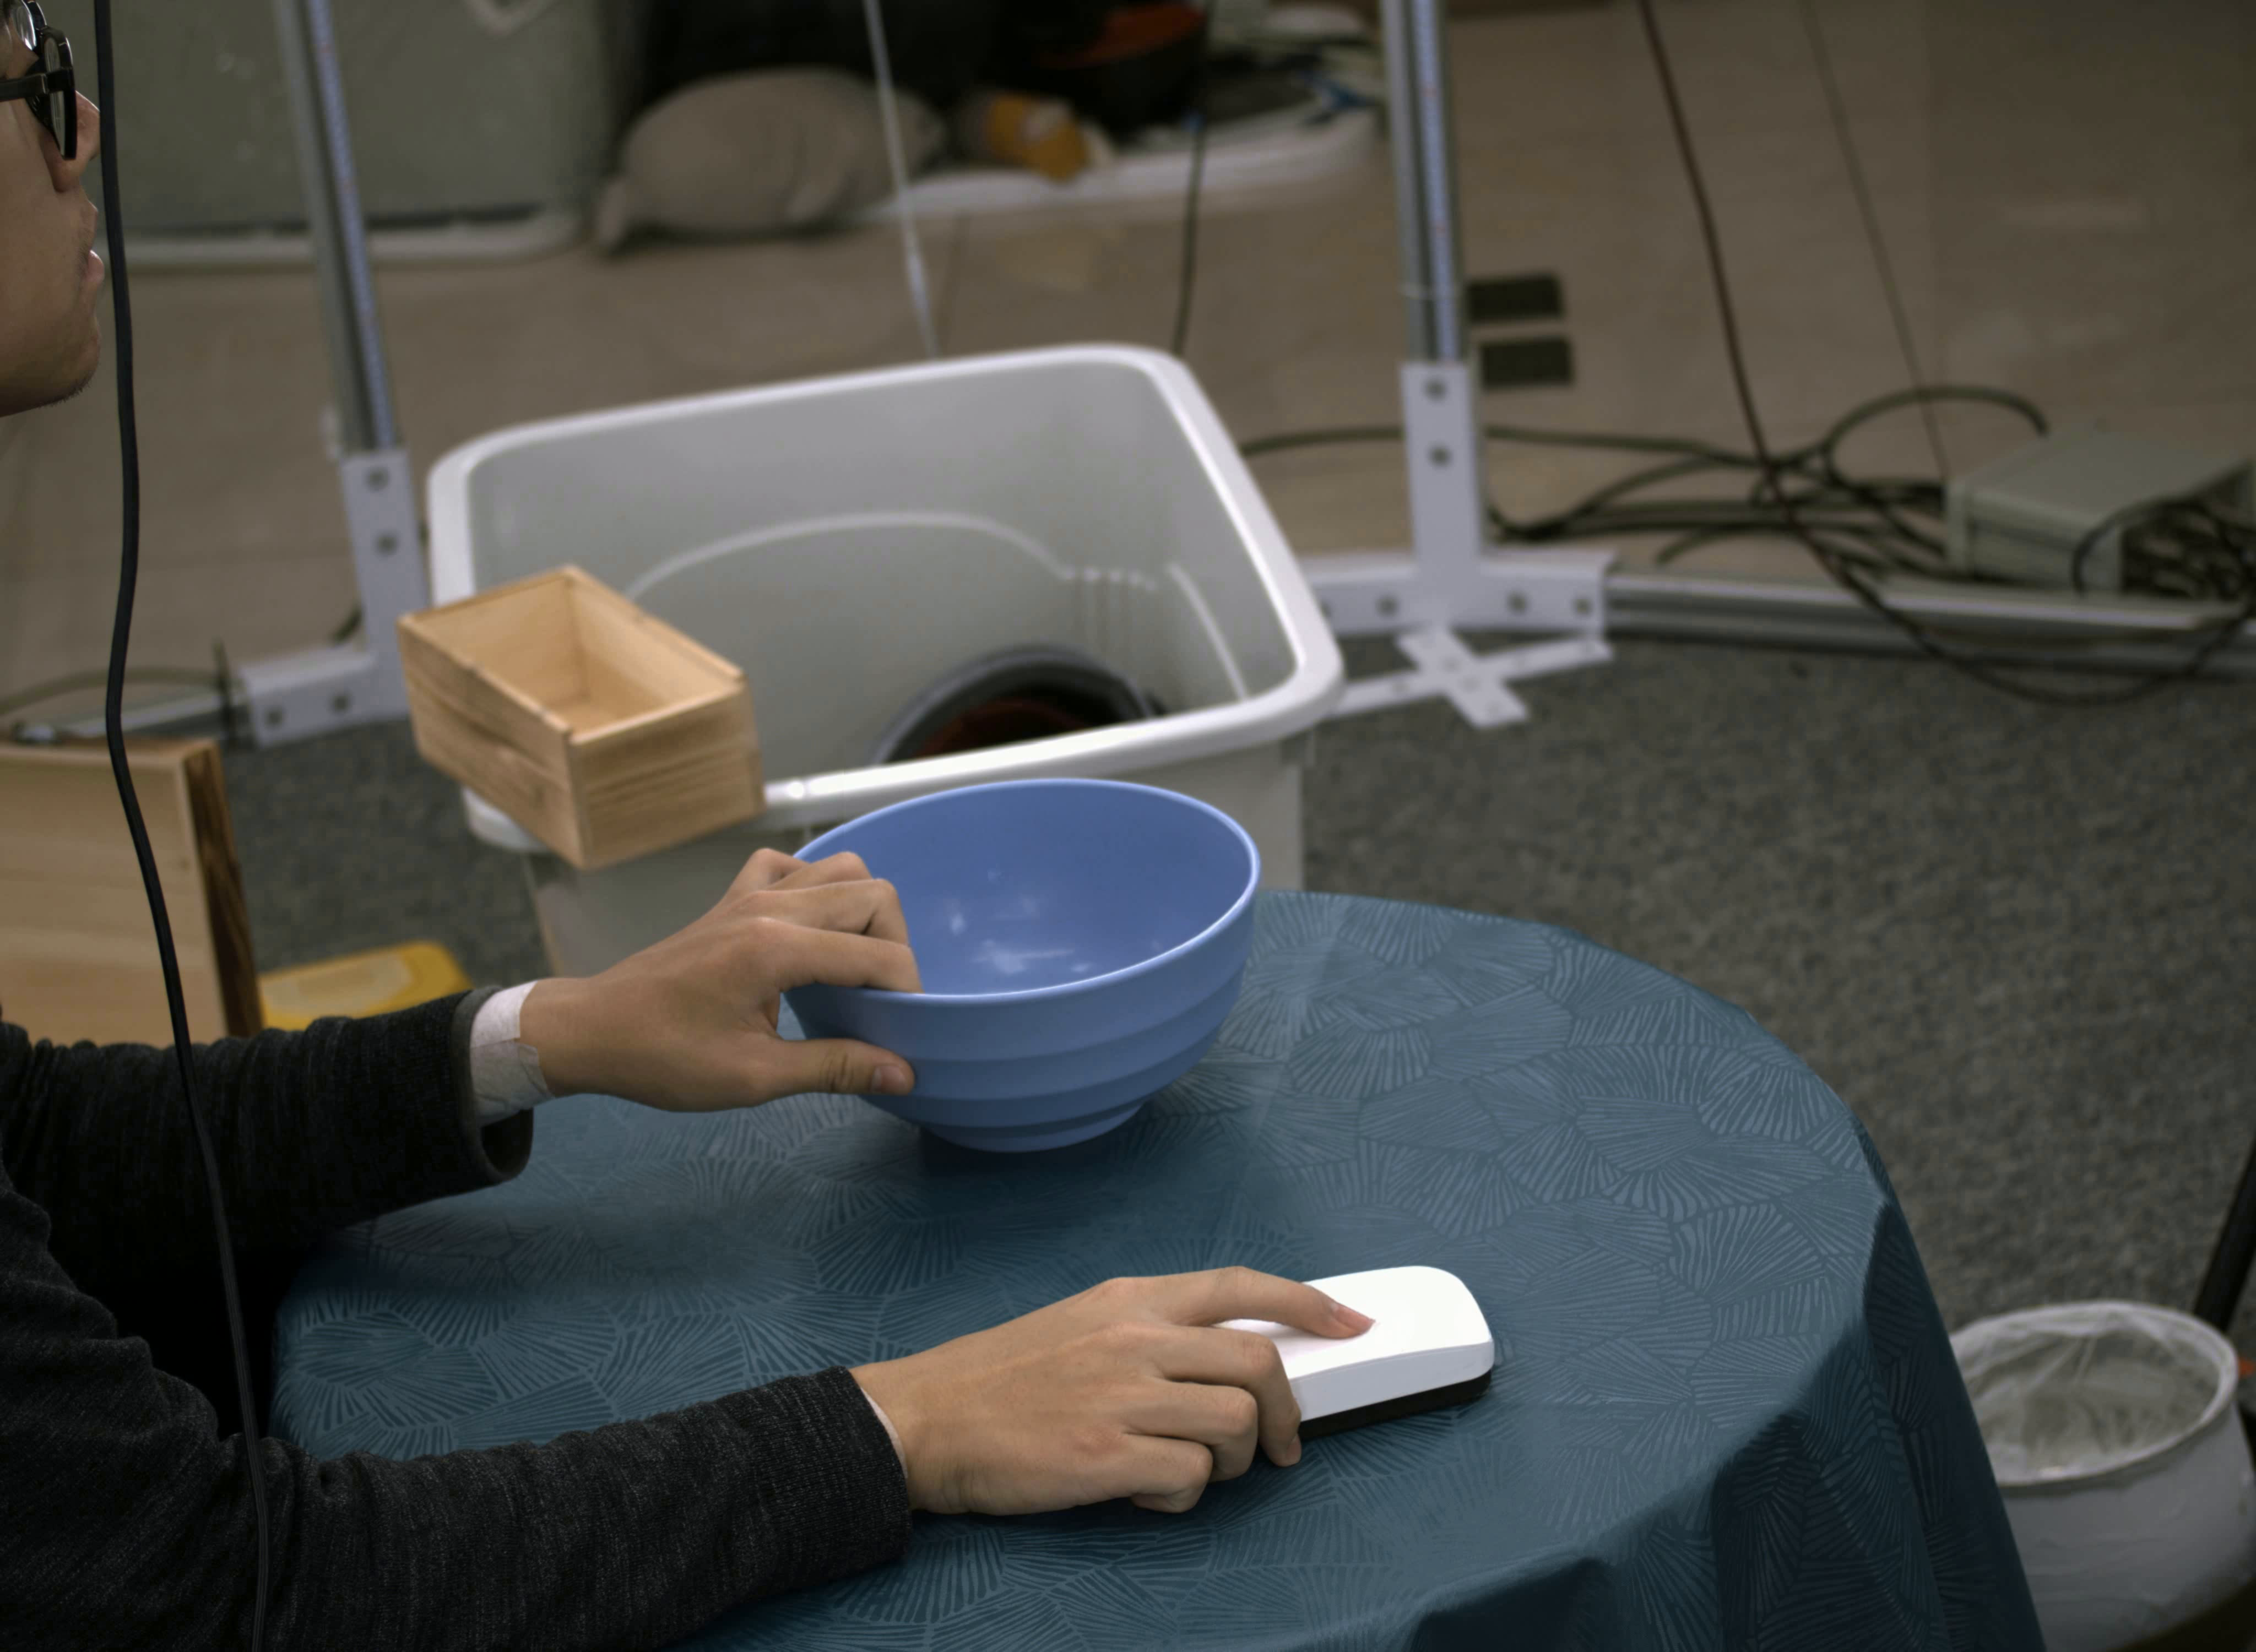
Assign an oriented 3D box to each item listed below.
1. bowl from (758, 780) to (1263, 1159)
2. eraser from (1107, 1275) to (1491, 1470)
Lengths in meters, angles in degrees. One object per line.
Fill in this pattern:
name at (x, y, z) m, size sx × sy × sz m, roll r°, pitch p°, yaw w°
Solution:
bowl at (-0.041, 0.066, 2.204) m, size 0.196 × 0.097 × 0.193 m, roll -5°, pitch 26°, yaw 3°
eraser at (0.060, 0.188, 1.991) m, size 0.131 × 0.035 × 0.062 m, roll -11°, pitch 25°, yaw -13°
